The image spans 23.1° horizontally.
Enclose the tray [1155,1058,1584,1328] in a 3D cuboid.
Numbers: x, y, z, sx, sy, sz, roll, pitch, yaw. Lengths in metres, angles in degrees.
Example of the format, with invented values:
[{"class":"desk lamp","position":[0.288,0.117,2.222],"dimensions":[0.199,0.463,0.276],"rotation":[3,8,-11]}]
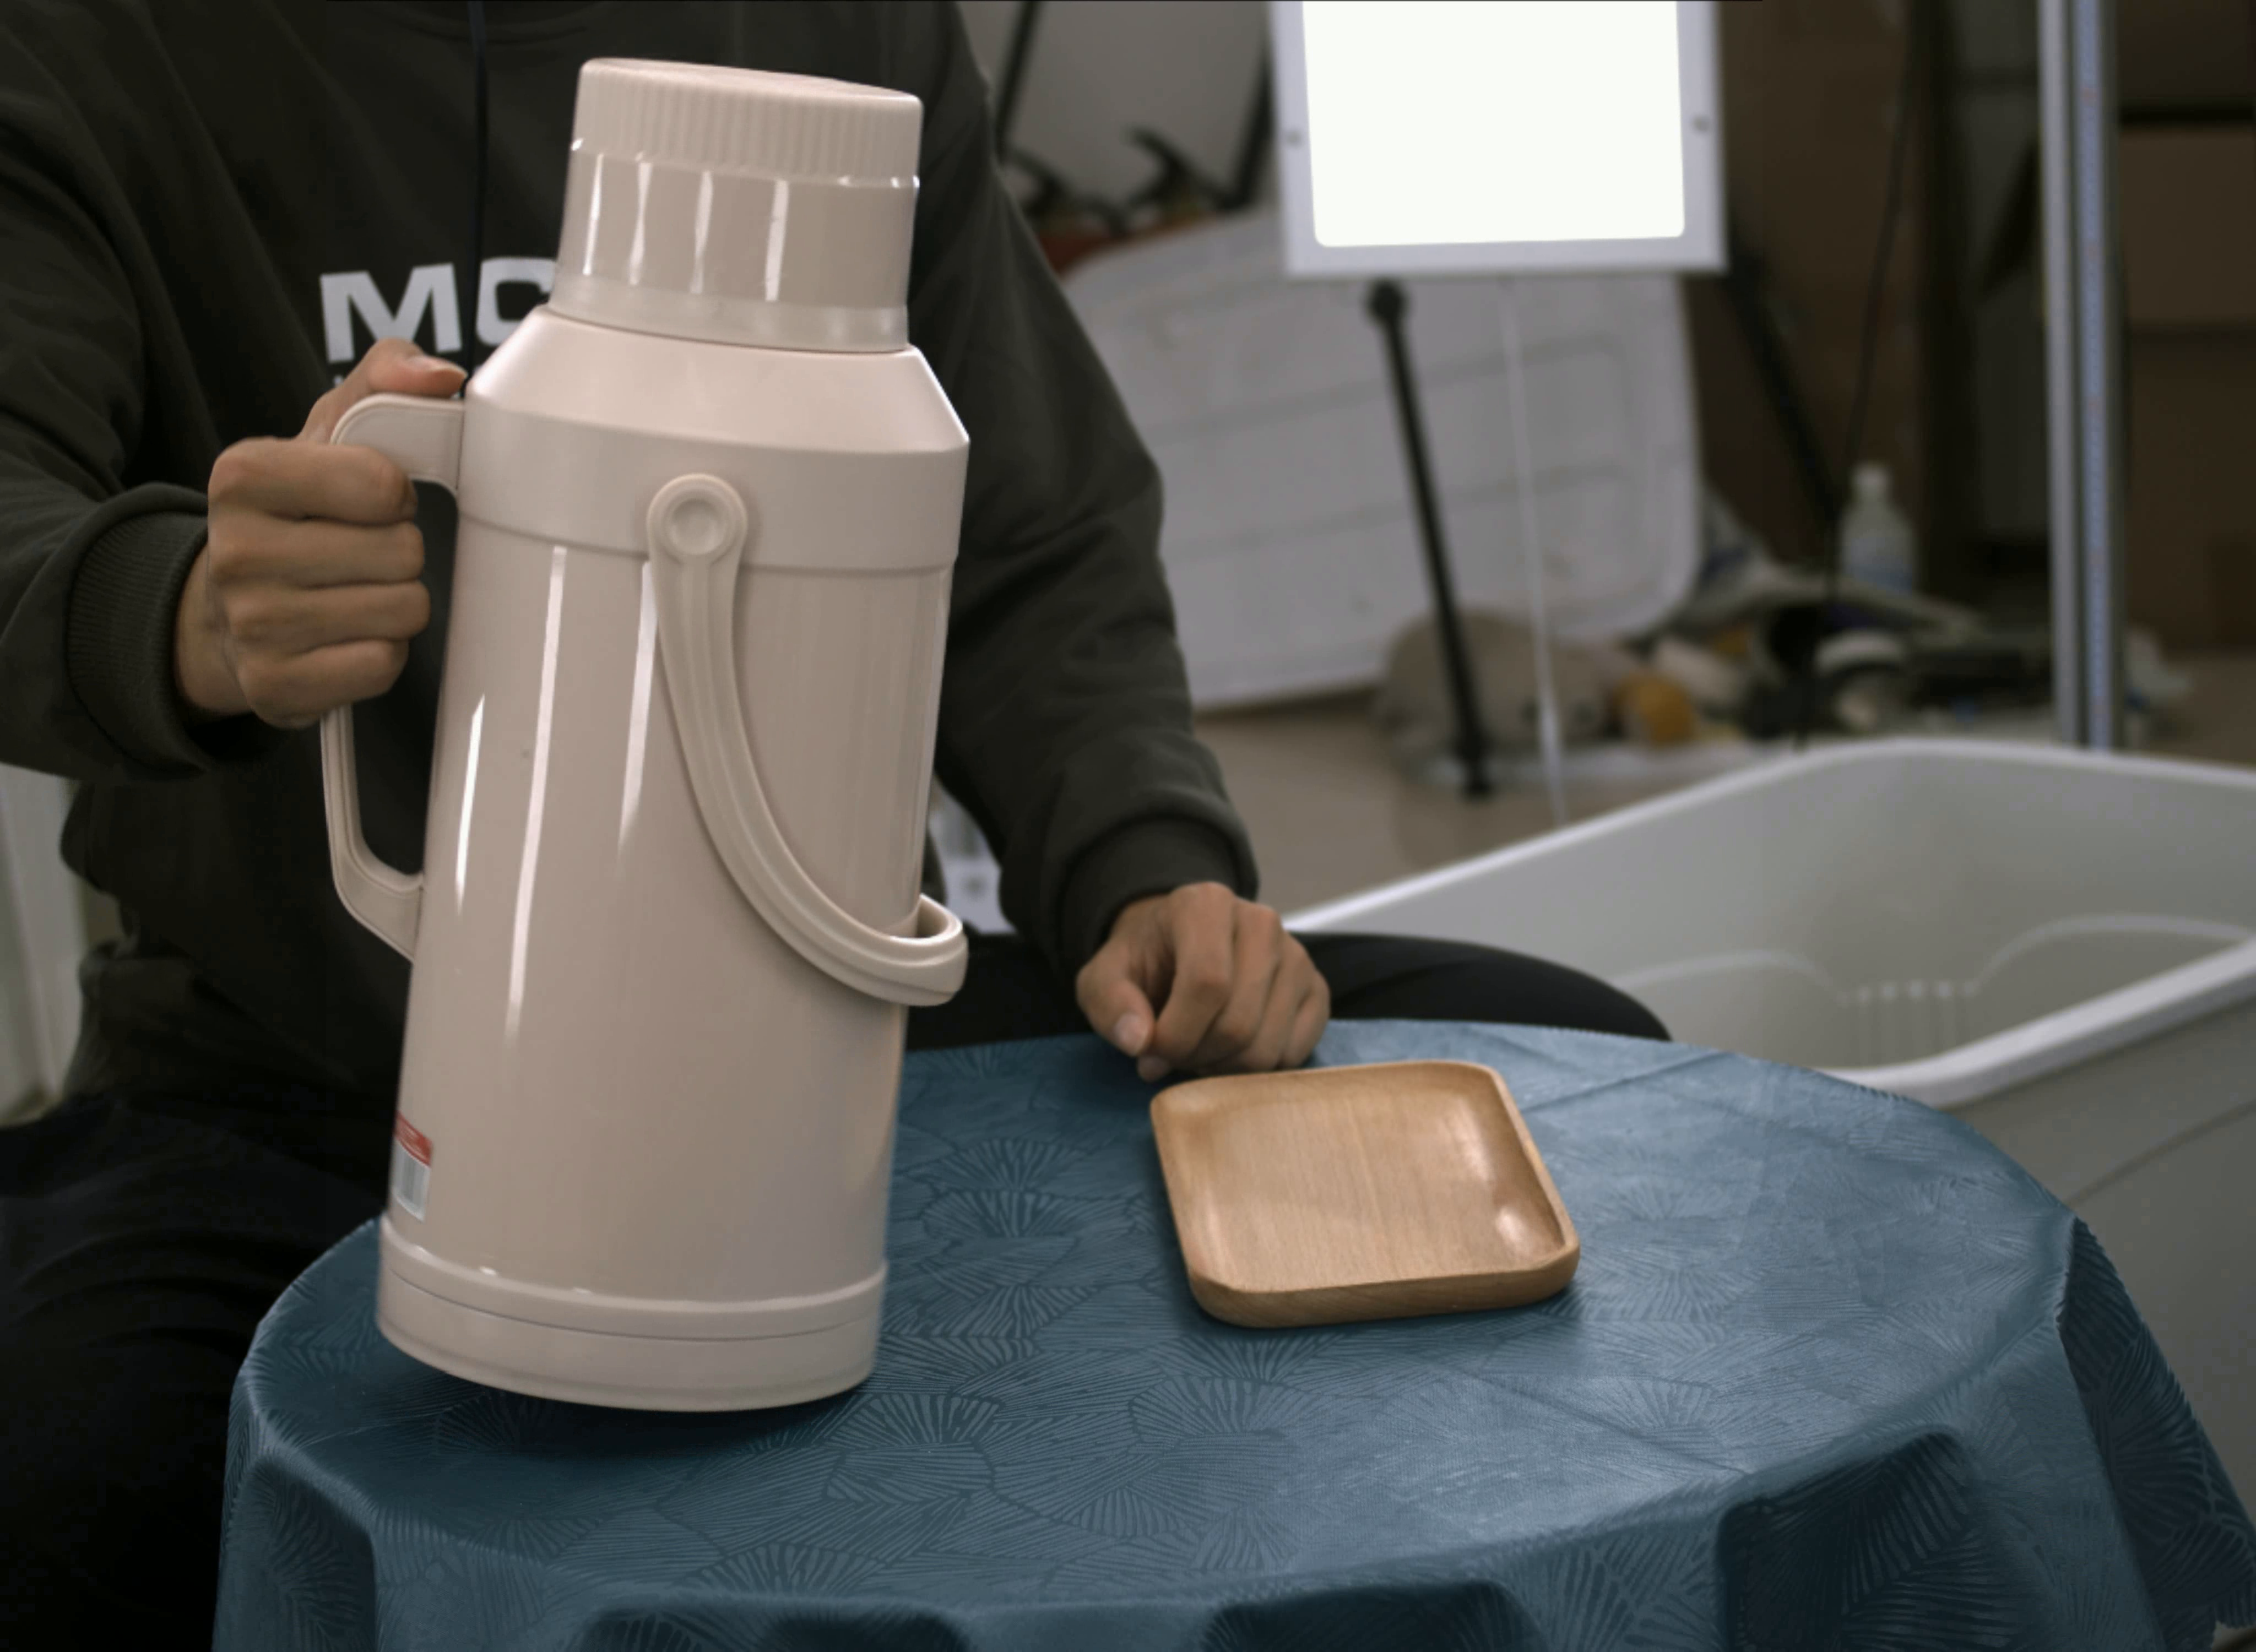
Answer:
[{"class":"tray","position":[0.078,0.122,1.858],"dimensions":[0.130,0.023,0.250],"rotation":[-3,13,-1]}]

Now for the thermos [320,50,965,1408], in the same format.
[{"class":"thermos","position":[-0.150,-0.033,1.713],"dimensions":[0.206,0.408,0.175],"rotation":[6,12,-1]}]
